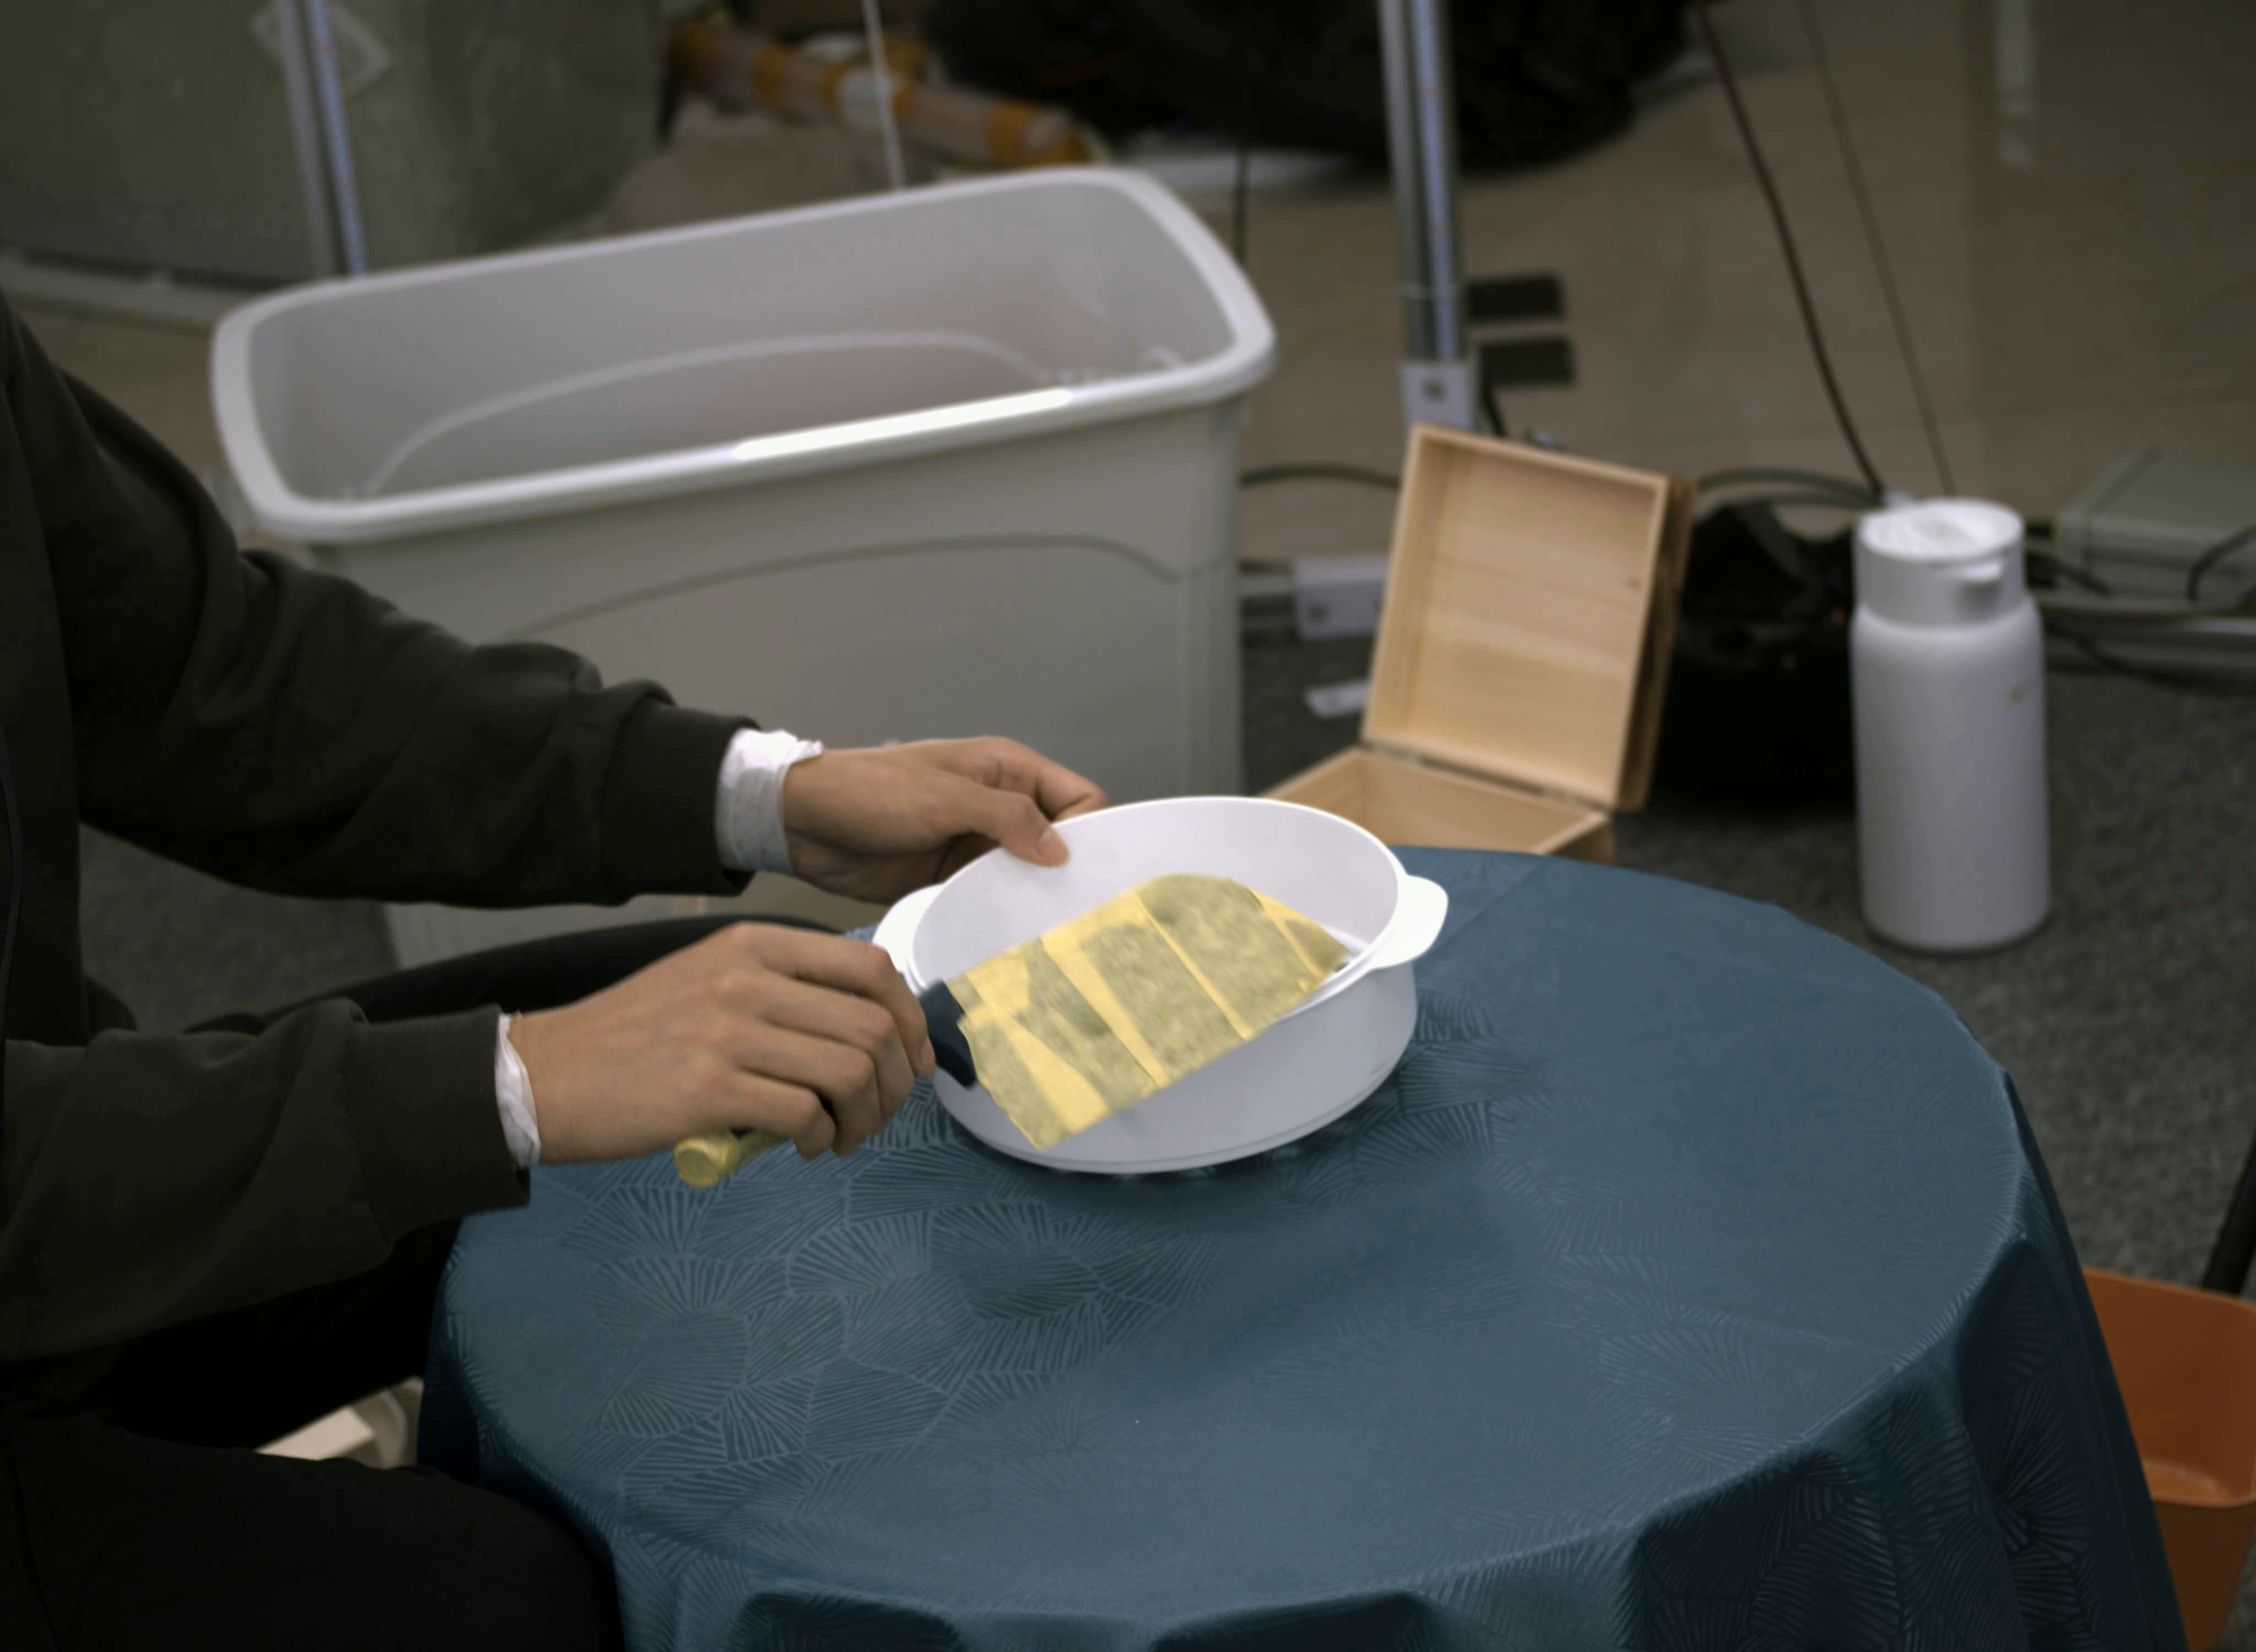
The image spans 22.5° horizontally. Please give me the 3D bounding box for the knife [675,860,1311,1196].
[{"bbox_3d":[-0.040,0.077,2.024,0.287,0.027,0.080,-24,68,-35],"label":"knife"}]

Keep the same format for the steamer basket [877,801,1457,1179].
[{"bbox_3d":[0.019,0.064,2.218,0.230,0.070,0.199,-2,28,18],"label":"steamer basket"}]
